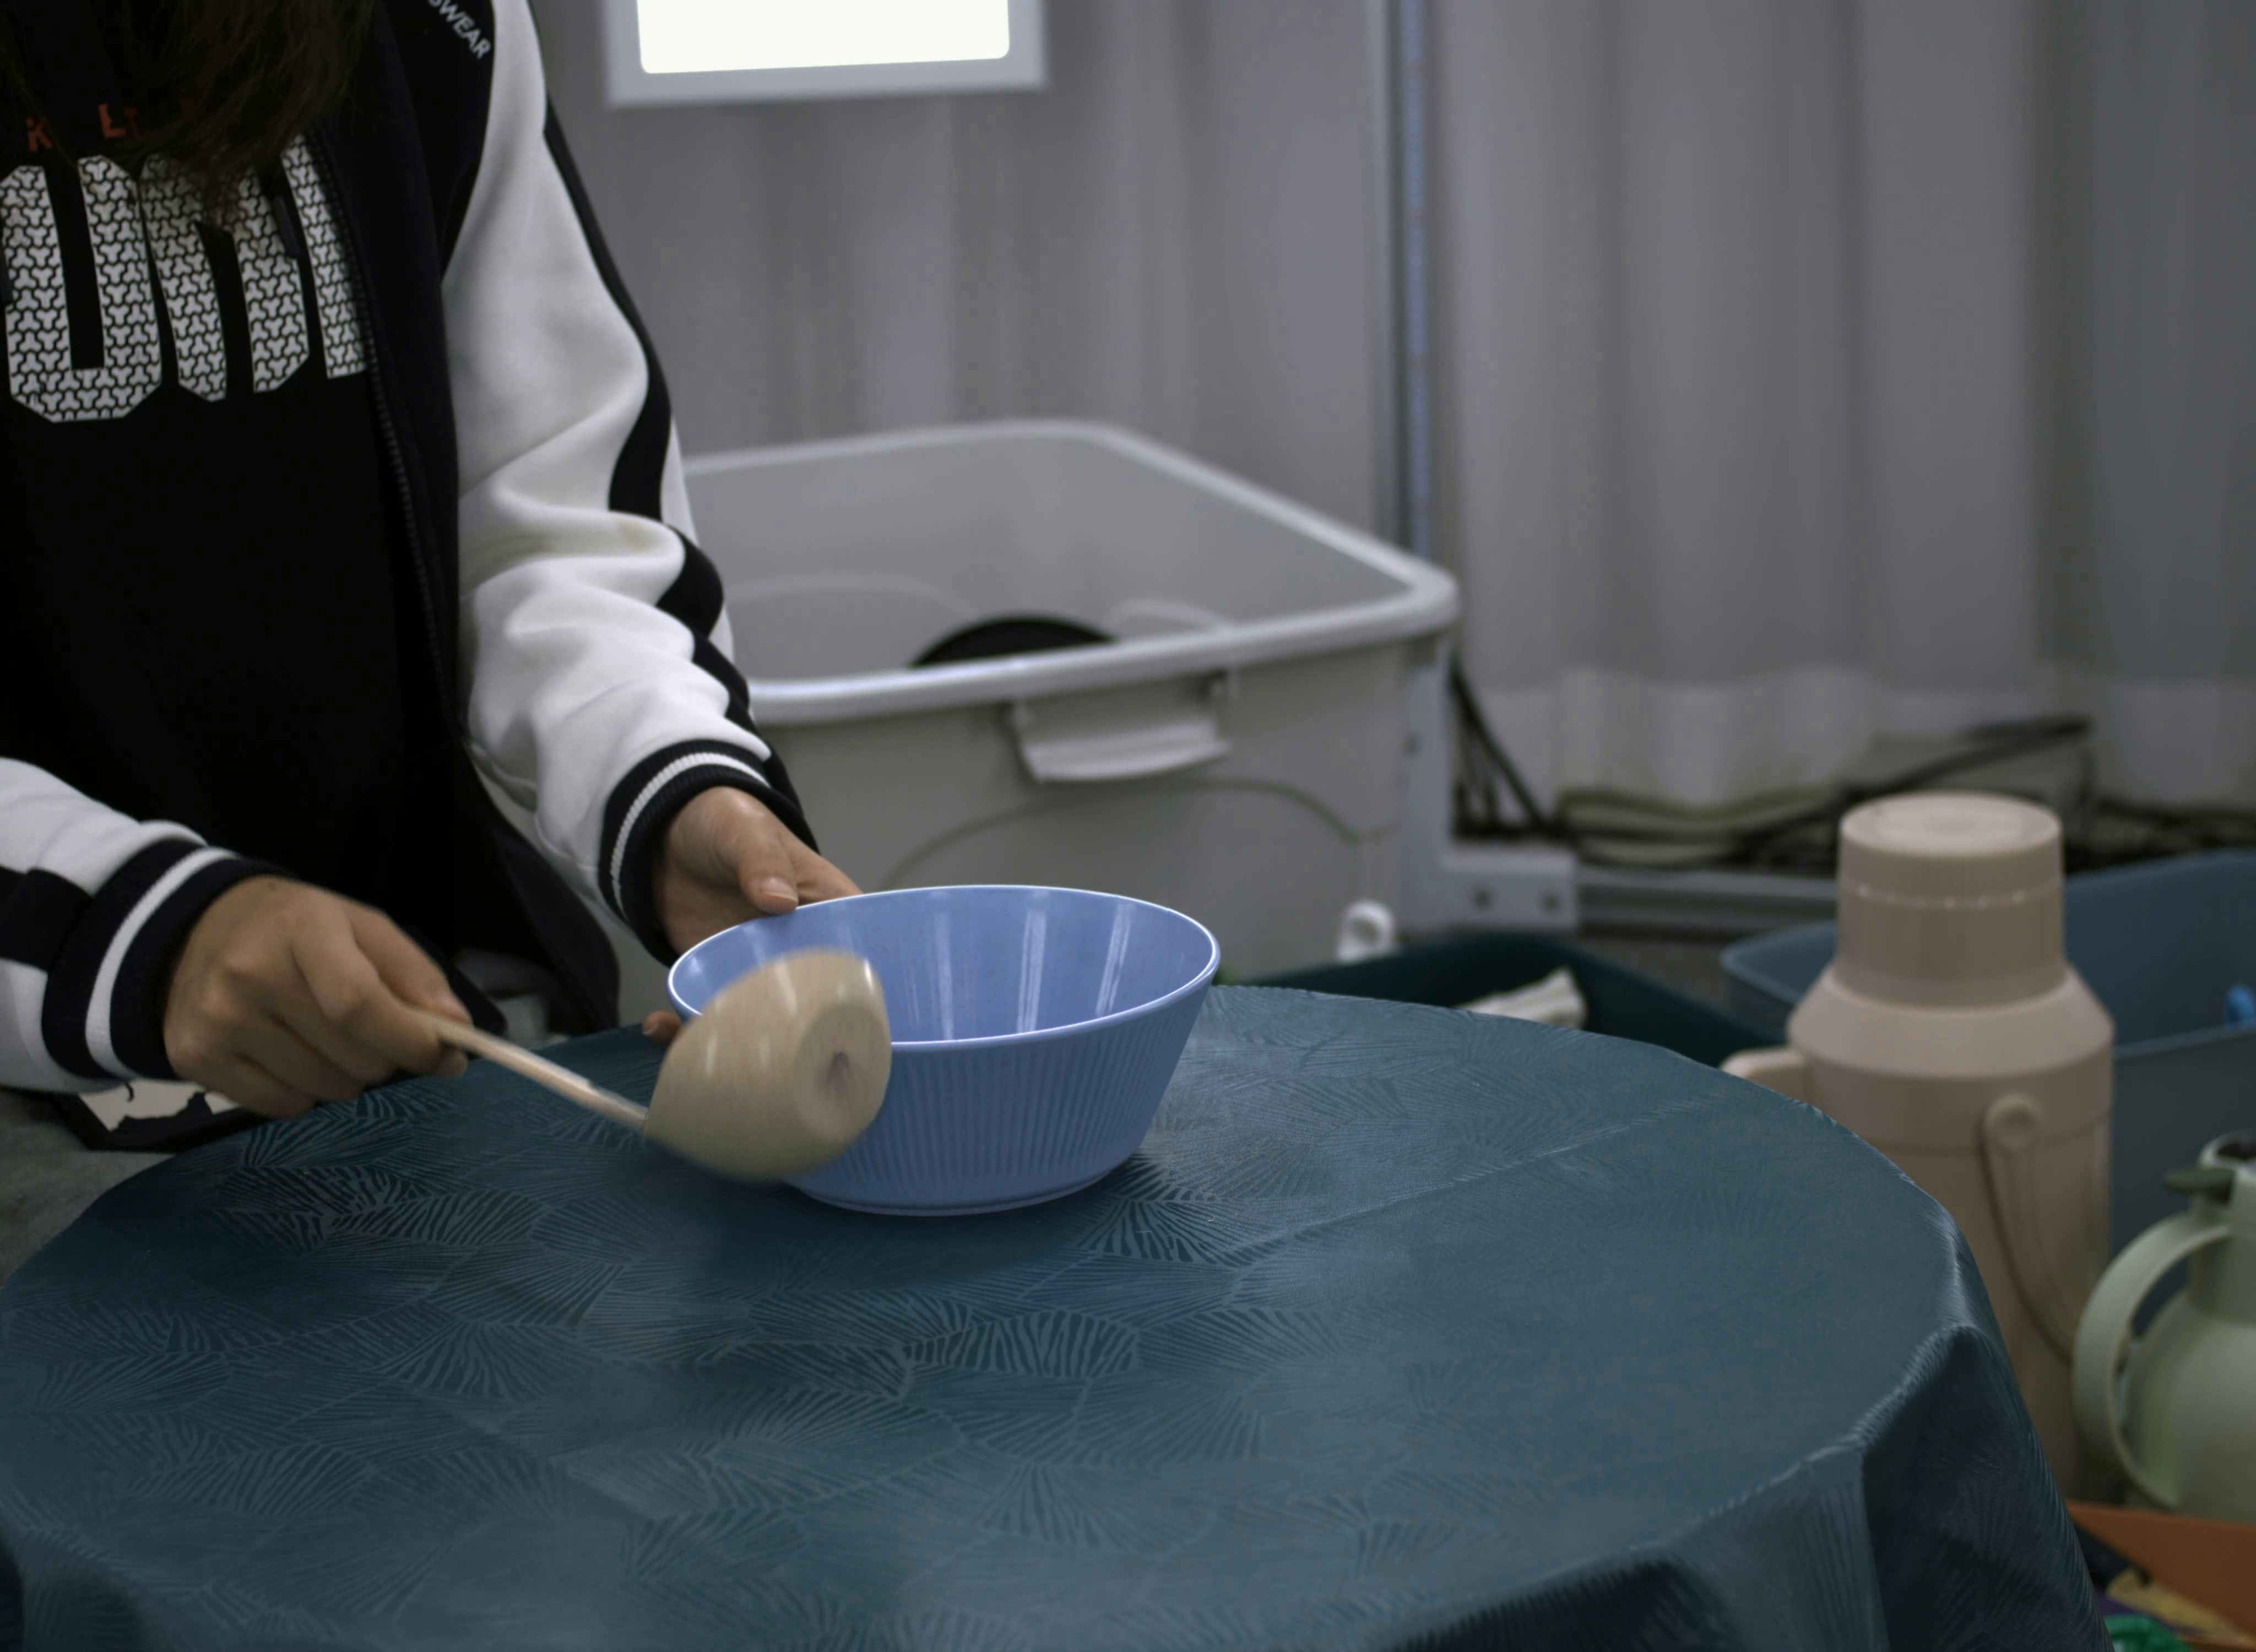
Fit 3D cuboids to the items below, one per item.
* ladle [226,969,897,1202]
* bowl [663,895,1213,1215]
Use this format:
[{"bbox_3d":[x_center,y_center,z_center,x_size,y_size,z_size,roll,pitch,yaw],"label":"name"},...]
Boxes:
[{"bbox_3d":[-0.173,0.050,1.633,0.256,0.073,0.071,17,-5,40],"label":"ladle"},{"bbox_3d":[-0.059,0.075,1.741,0.175,0.070,0.177,-2,14,0],"label":"bowl"}]
